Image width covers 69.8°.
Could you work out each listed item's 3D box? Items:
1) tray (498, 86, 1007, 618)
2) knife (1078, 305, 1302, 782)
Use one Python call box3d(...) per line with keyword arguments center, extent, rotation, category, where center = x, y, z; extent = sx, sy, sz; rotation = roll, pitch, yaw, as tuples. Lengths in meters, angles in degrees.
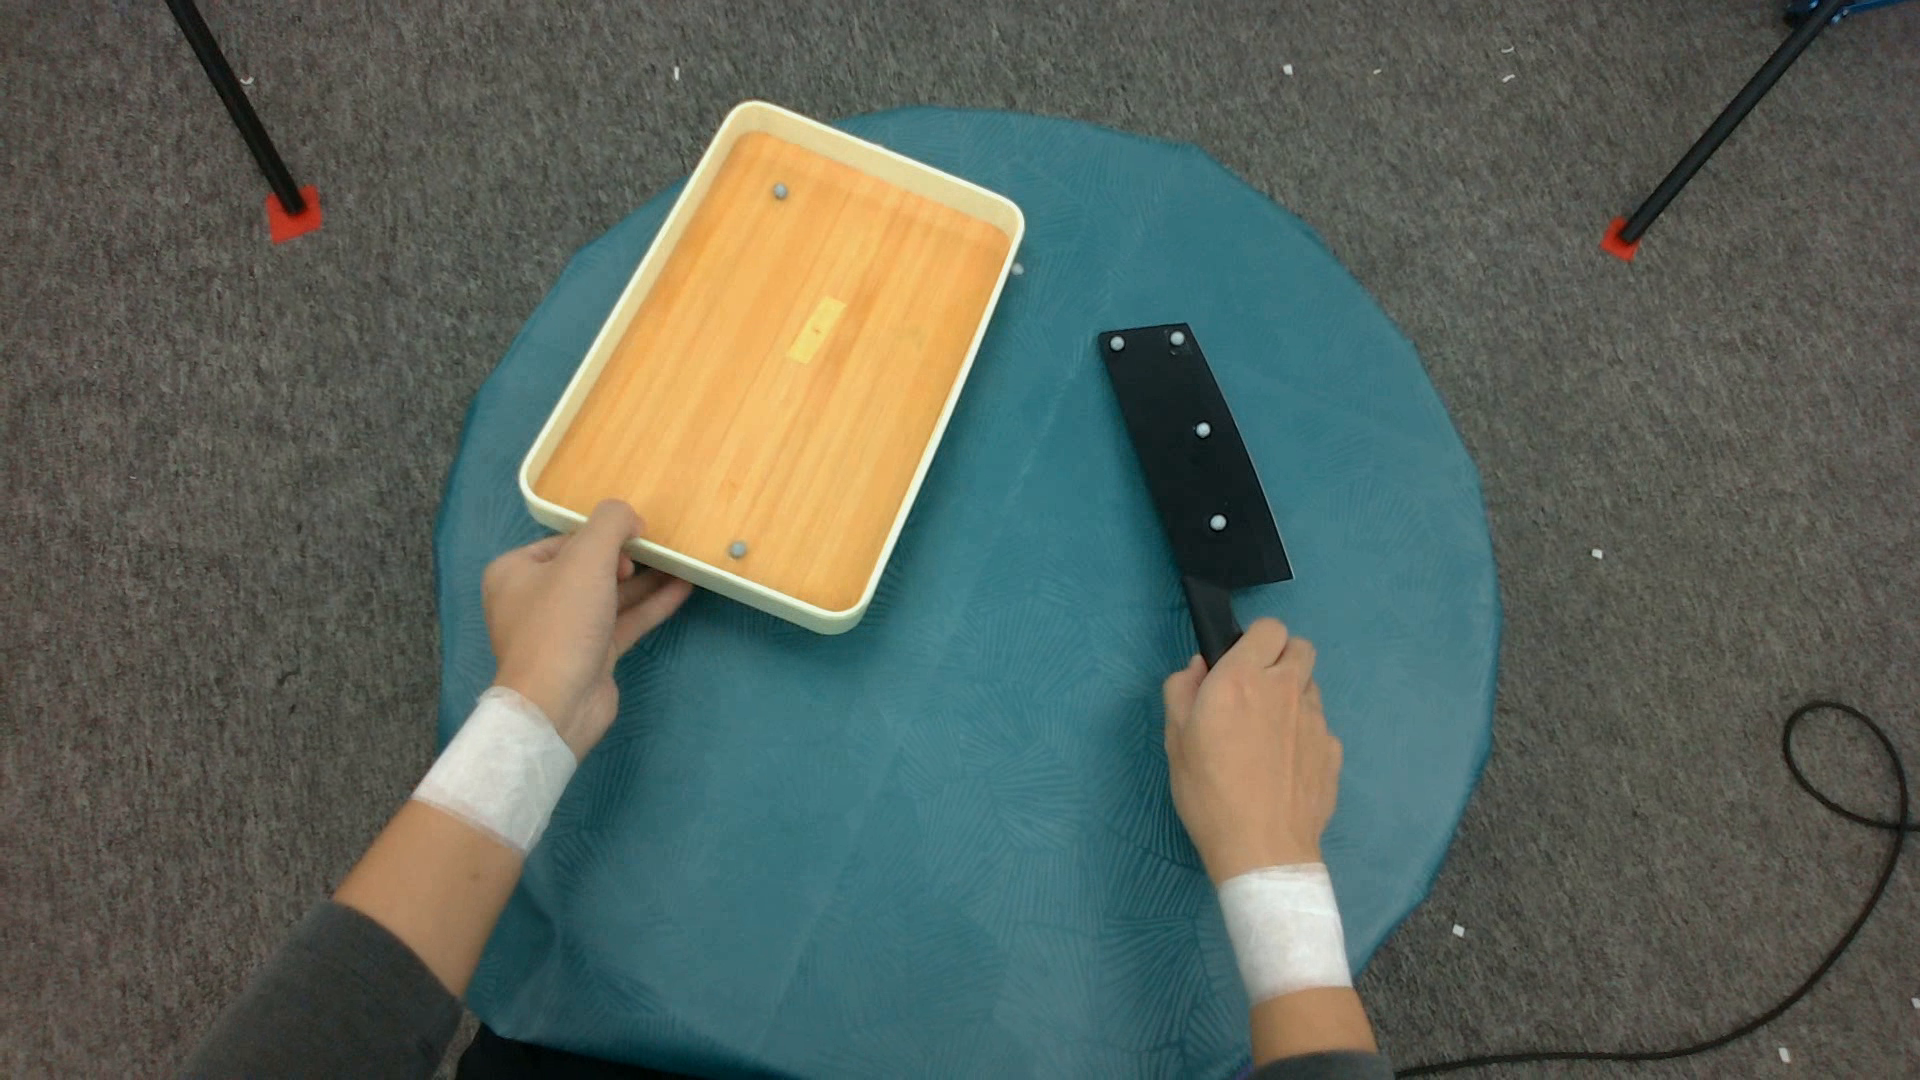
box3d(center=(-0.104, -0.116, 0.769), extent=(0.191, 0.027, 0.301), rotation=(22, 62, -1), category="tray")
box3d(center=(0.134, -0.010, 0.771), extent=(0.081, 0.021, 0.303), rotation=(-3, 63, -17), category="knife")
